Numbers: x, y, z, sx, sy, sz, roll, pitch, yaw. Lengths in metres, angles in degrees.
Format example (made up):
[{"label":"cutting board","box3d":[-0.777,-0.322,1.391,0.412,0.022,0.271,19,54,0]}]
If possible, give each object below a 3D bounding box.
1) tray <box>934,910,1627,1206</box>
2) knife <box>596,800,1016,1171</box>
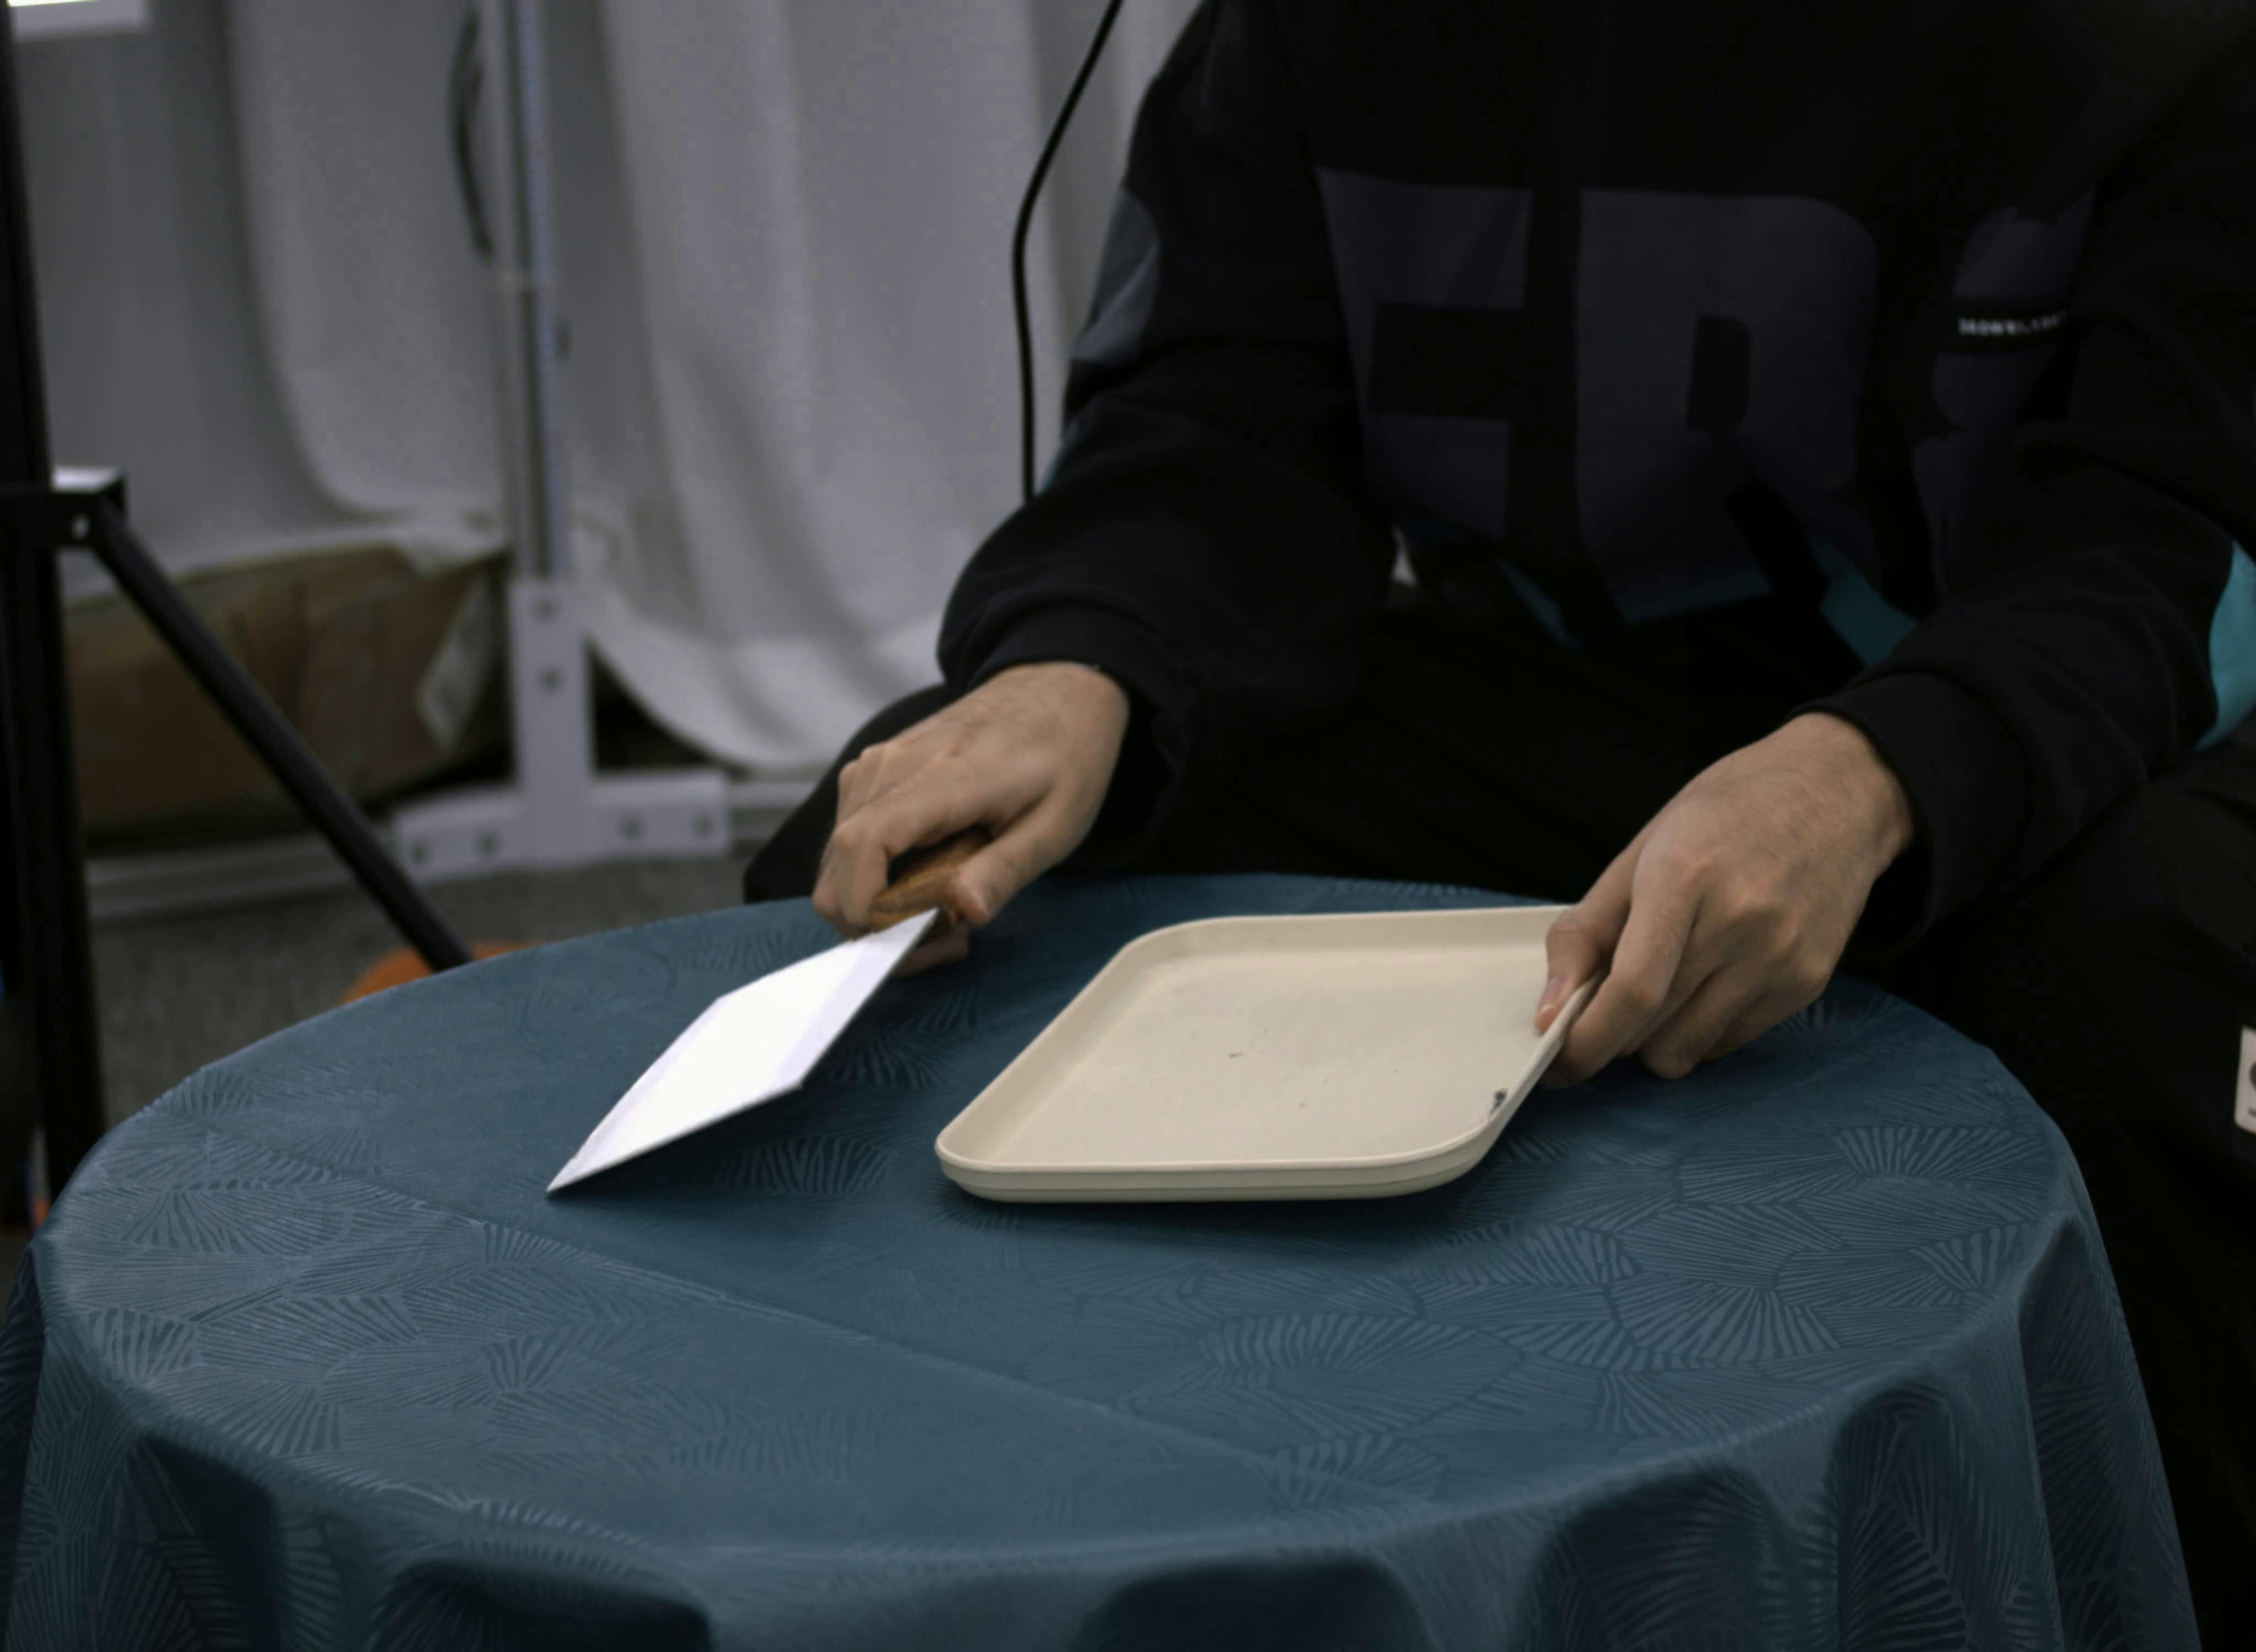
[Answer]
[{"label":"tray","box3d":[0.051,0.071,1.623,0.173,0.017,0.237,-3,15,21]},{"label":"knife","box3d":[-0.102,0.052,1.705,0.093,0.021,0.304,-23,10,17]}]
